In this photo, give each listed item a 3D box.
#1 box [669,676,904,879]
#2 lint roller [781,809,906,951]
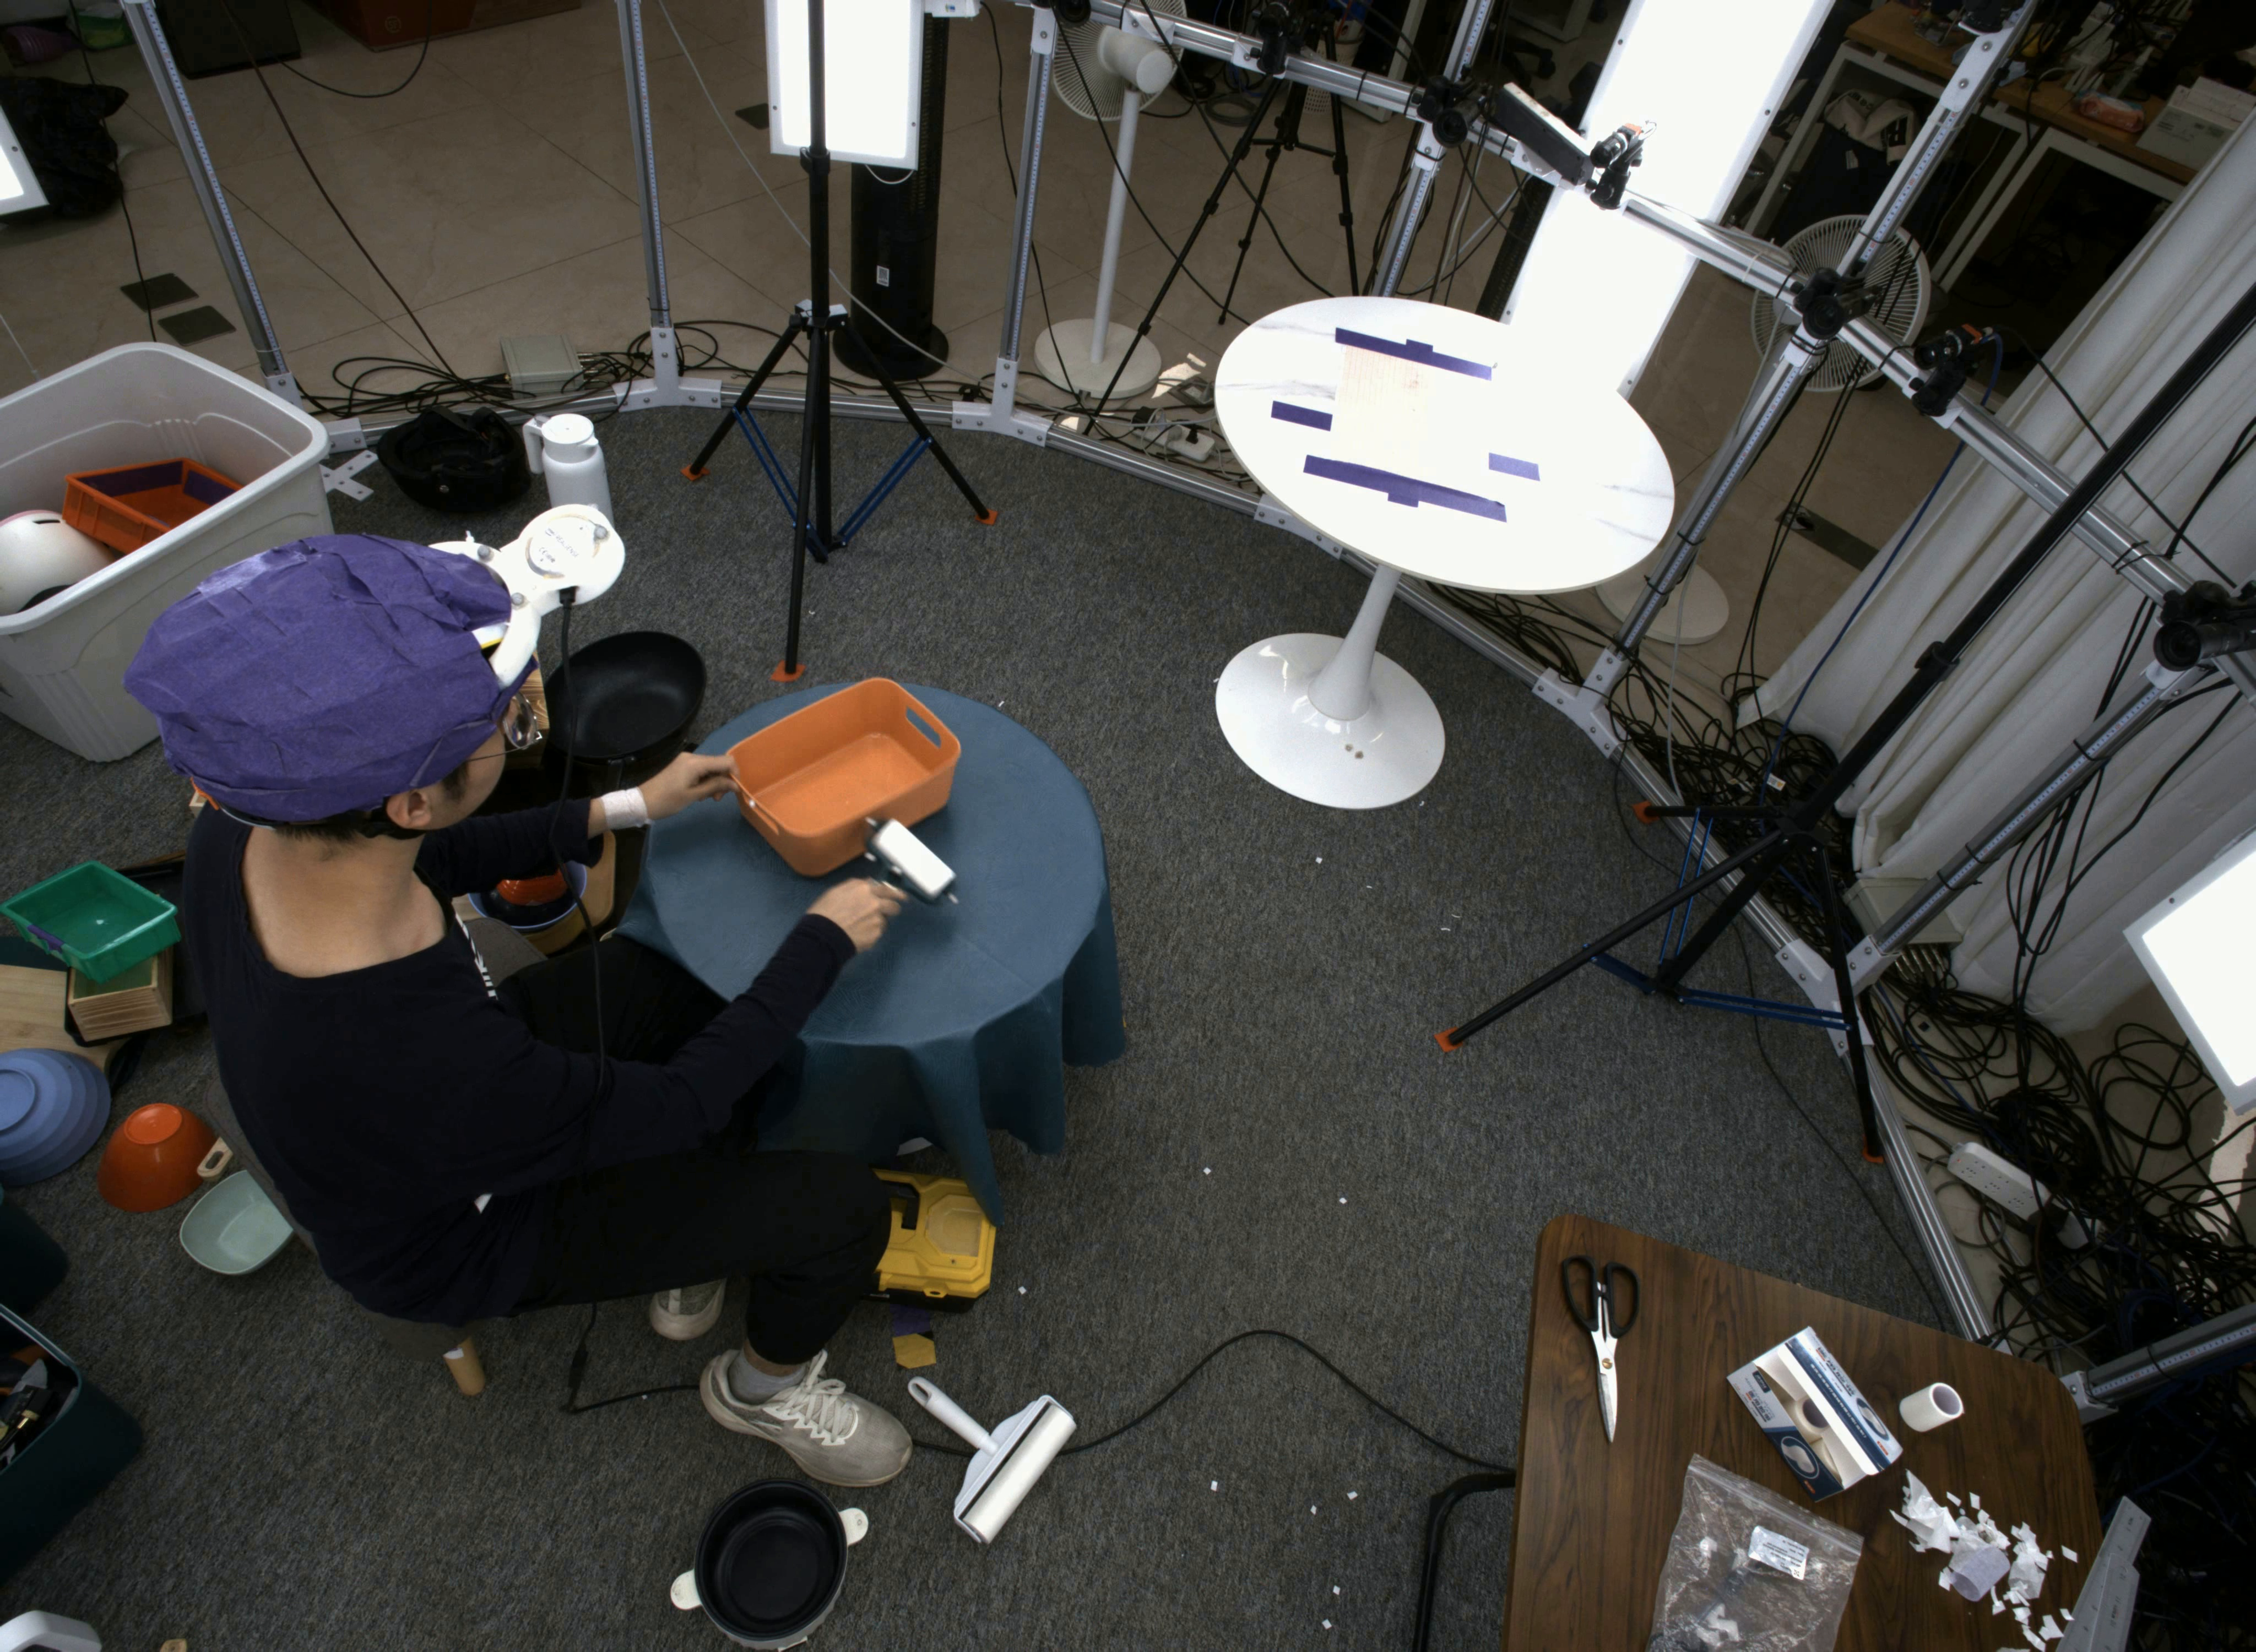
[{"bbox_3d":[-0.438,-0.063,1.696,0.193,0.105,0.274,36,53,23],"label":"box"},{"bbox_3d":[-0.362,0.077,1.577,0.136,0.048,0.179,40,45,-10],"label":"lint roller"}]
